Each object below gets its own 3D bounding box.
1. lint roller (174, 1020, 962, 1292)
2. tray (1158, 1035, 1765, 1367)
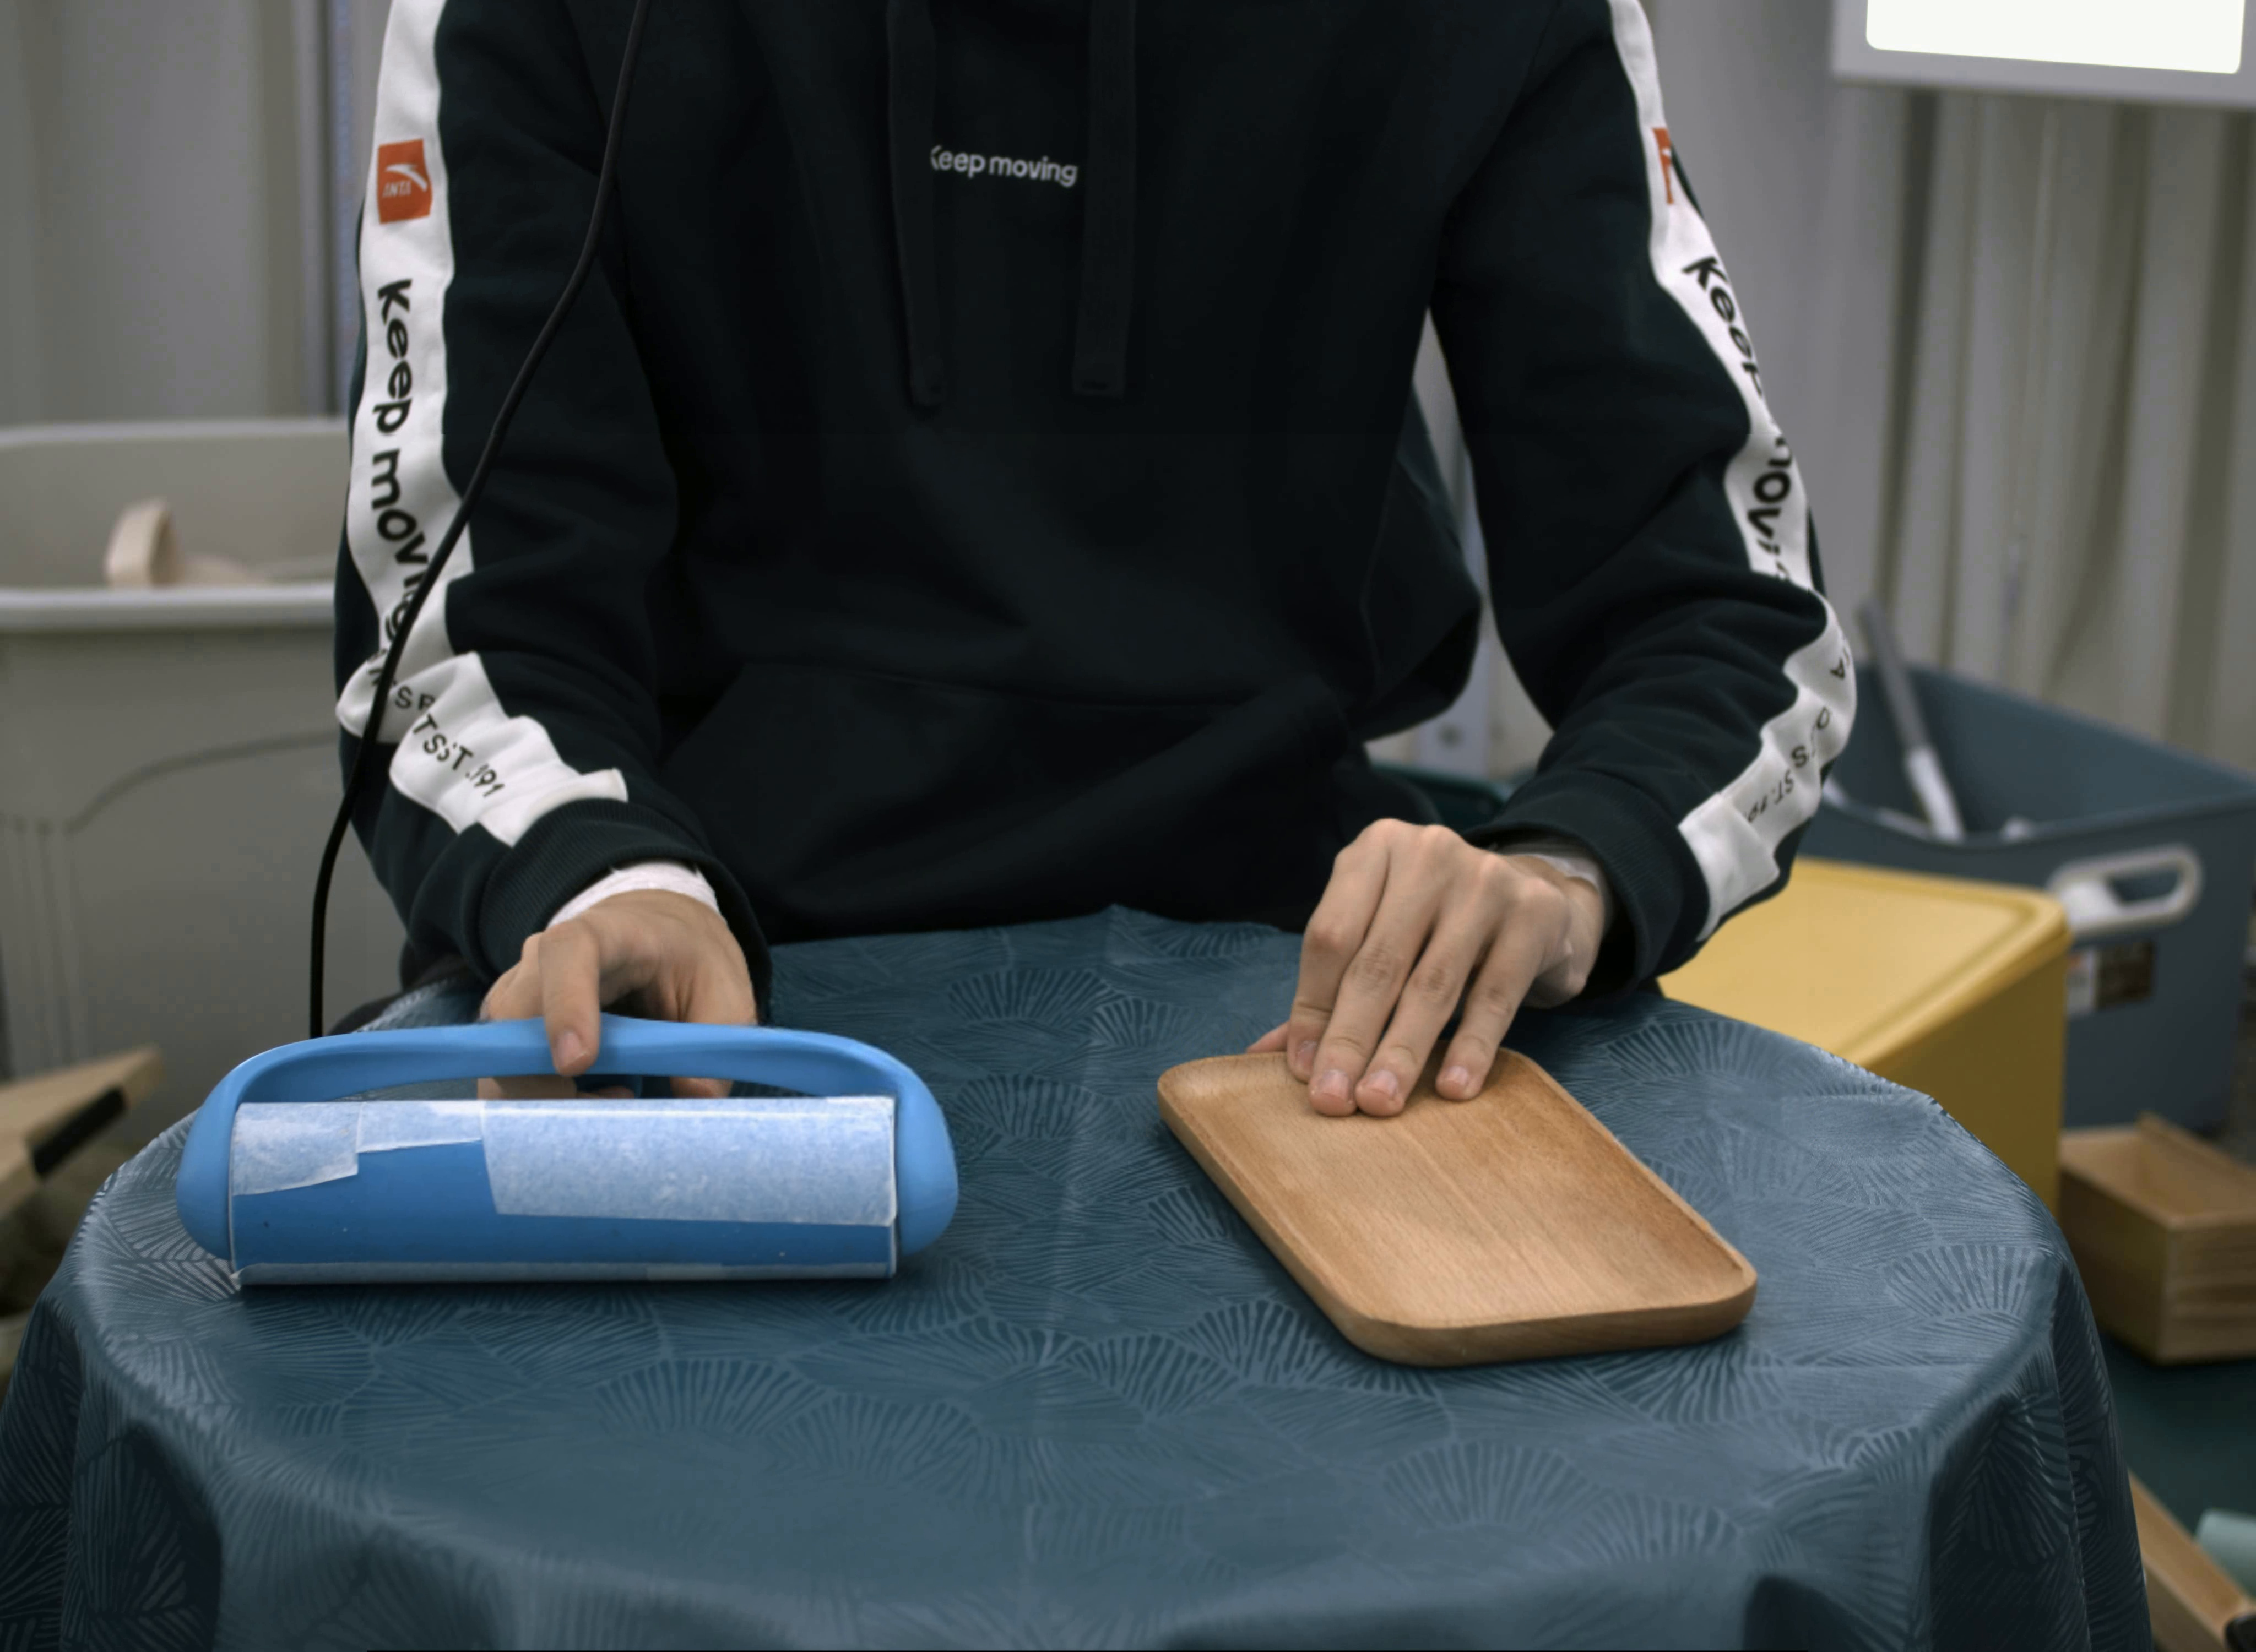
[{"bbox_3d":[-0.167,0.089,1.591,0.228,0.068,0.179,-2,17,-5],"label":"lint roller"},{"bbox_3d":[0.096,0.110,1.596,0.131,0.023,0.248,-1,15,-15],"label":"tray"}]
